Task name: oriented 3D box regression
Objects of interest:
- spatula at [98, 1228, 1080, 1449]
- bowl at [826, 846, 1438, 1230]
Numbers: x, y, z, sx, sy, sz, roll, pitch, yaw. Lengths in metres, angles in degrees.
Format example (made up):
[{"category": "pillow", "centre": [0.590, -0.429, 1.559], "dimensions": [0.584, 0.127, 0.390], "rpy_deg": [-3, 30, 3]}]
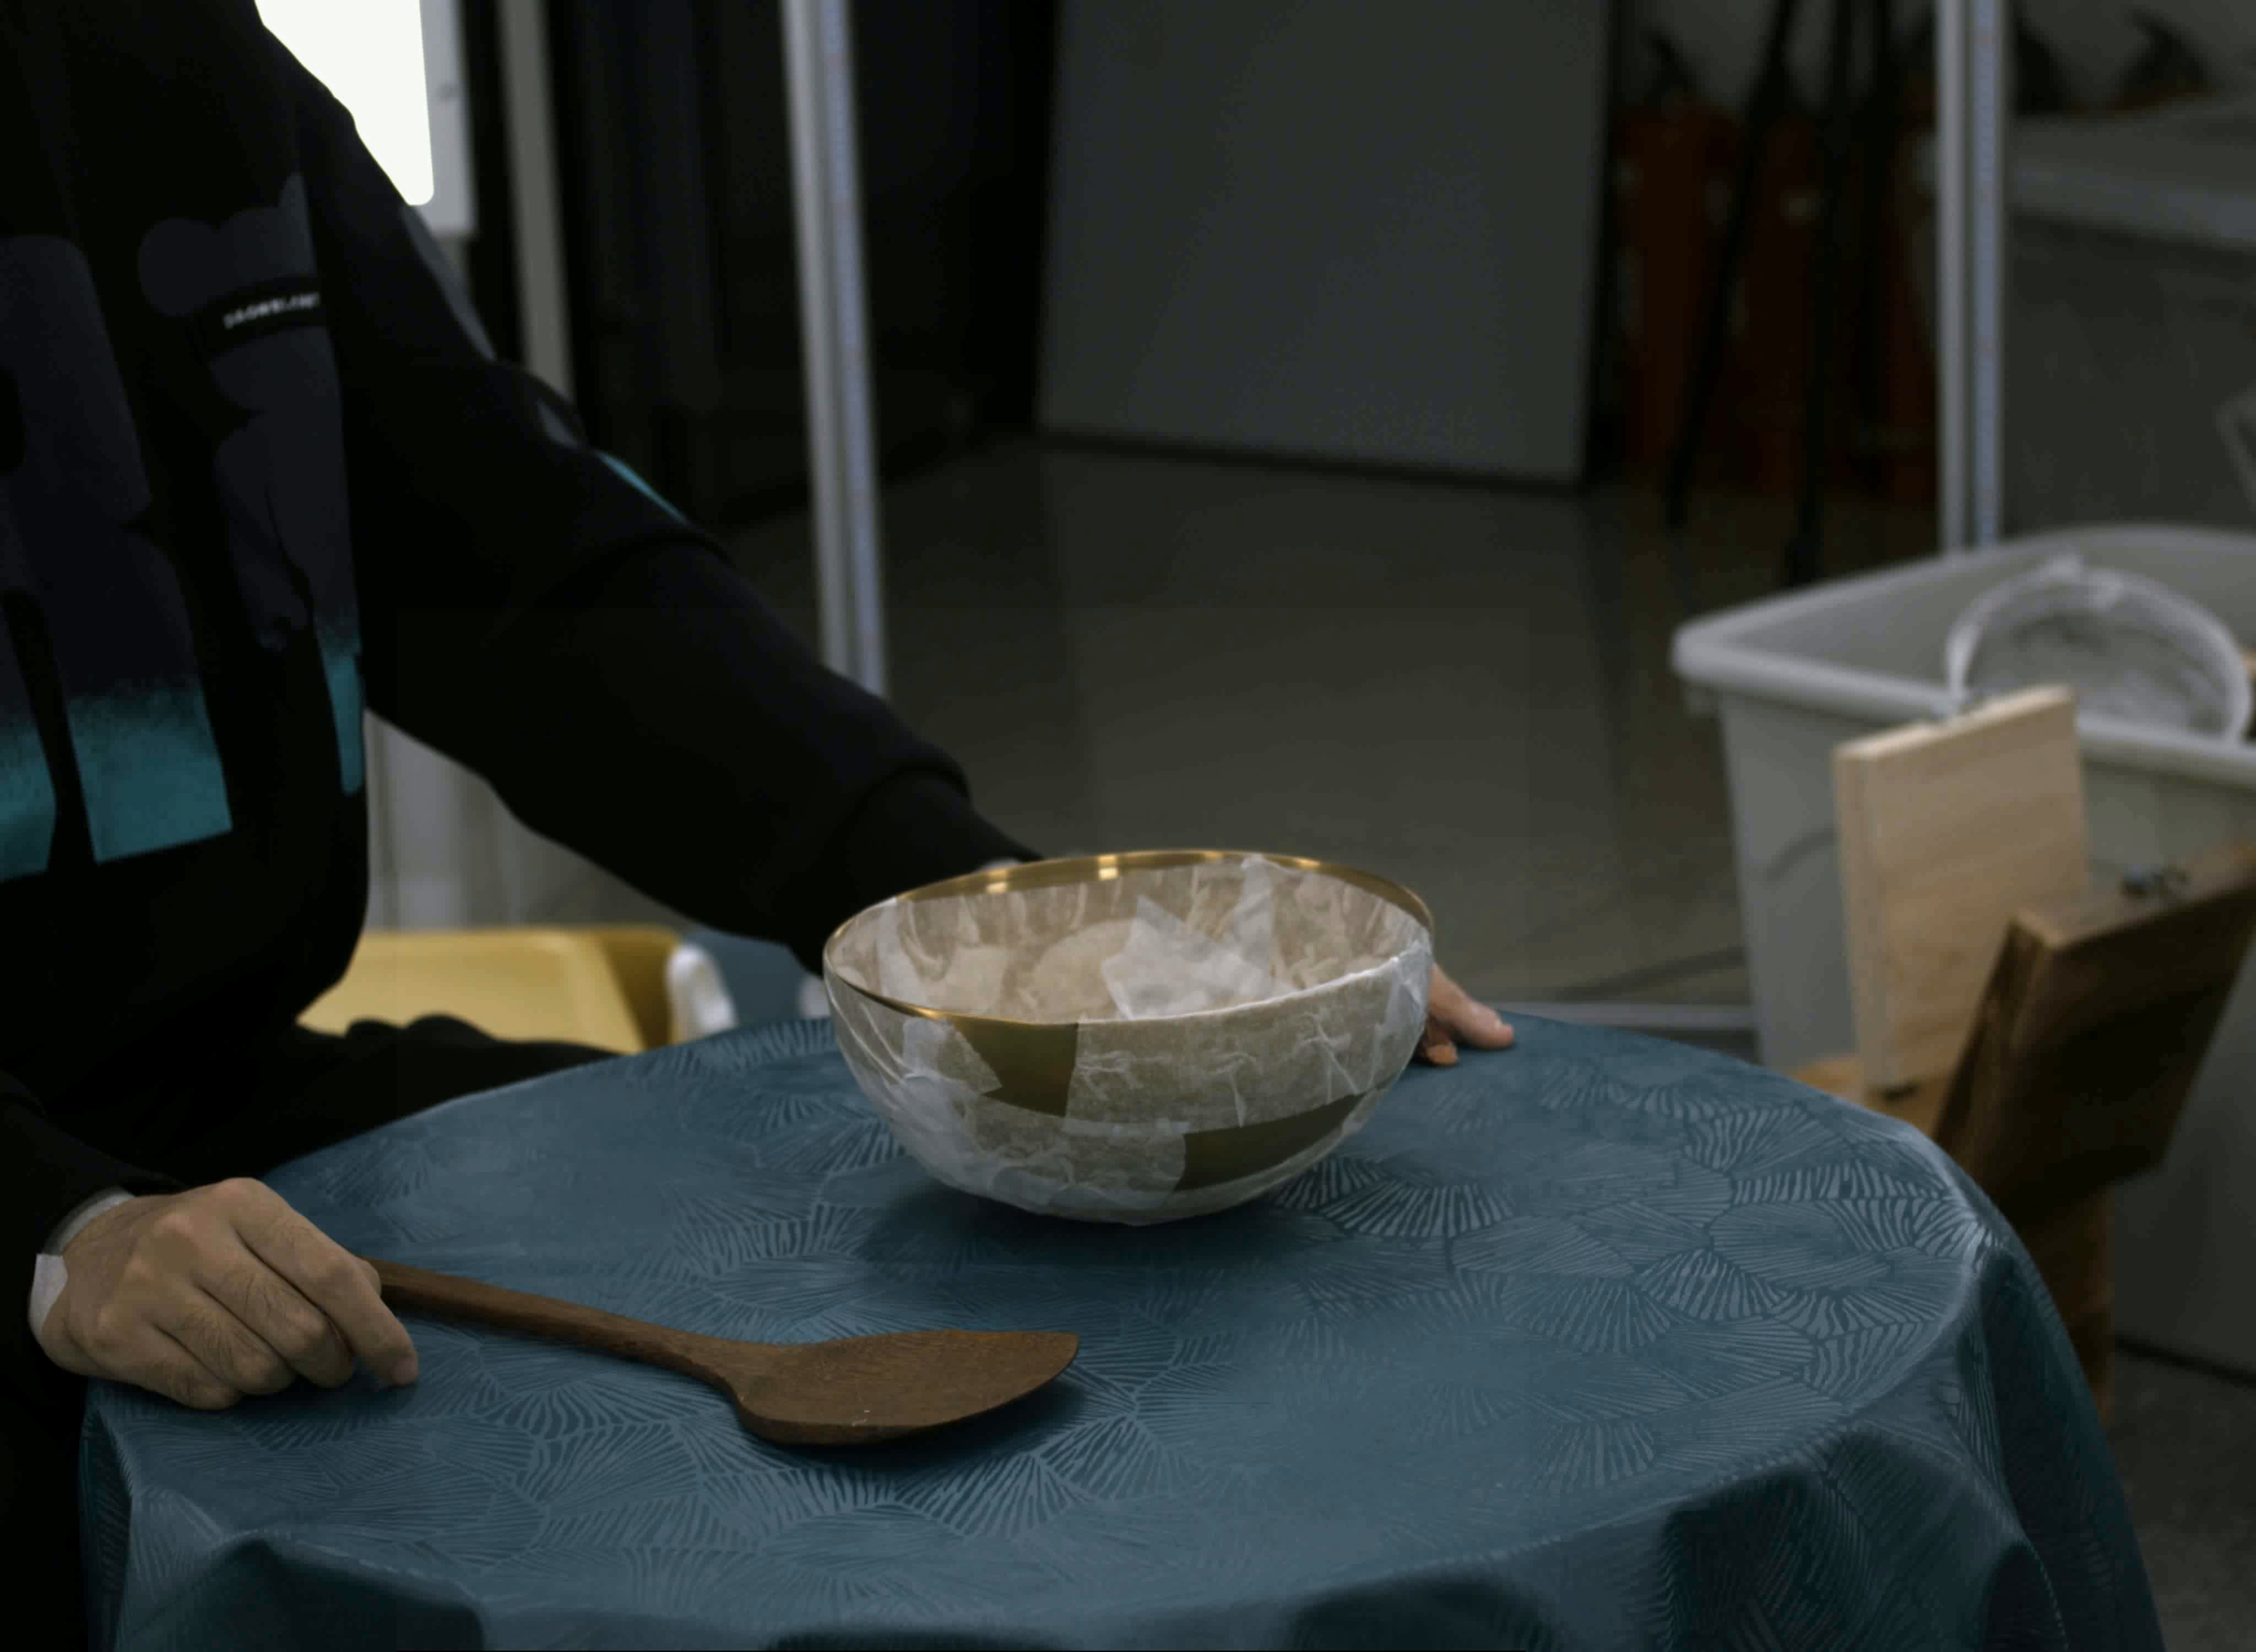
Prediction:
[{"category": "spatula", "centre": [-0.183, 0.153, 1.670], "dimensions": [0.388, 0.016, 0.094], "rpy_deg": [6, 17, 37]}, {"category": "bowl", "centre": [0.003, 0.075, 1.761], "dimensions": [0.212, 0.095, 0.215], "rpy_deg": [-6, 14, 1]}]
